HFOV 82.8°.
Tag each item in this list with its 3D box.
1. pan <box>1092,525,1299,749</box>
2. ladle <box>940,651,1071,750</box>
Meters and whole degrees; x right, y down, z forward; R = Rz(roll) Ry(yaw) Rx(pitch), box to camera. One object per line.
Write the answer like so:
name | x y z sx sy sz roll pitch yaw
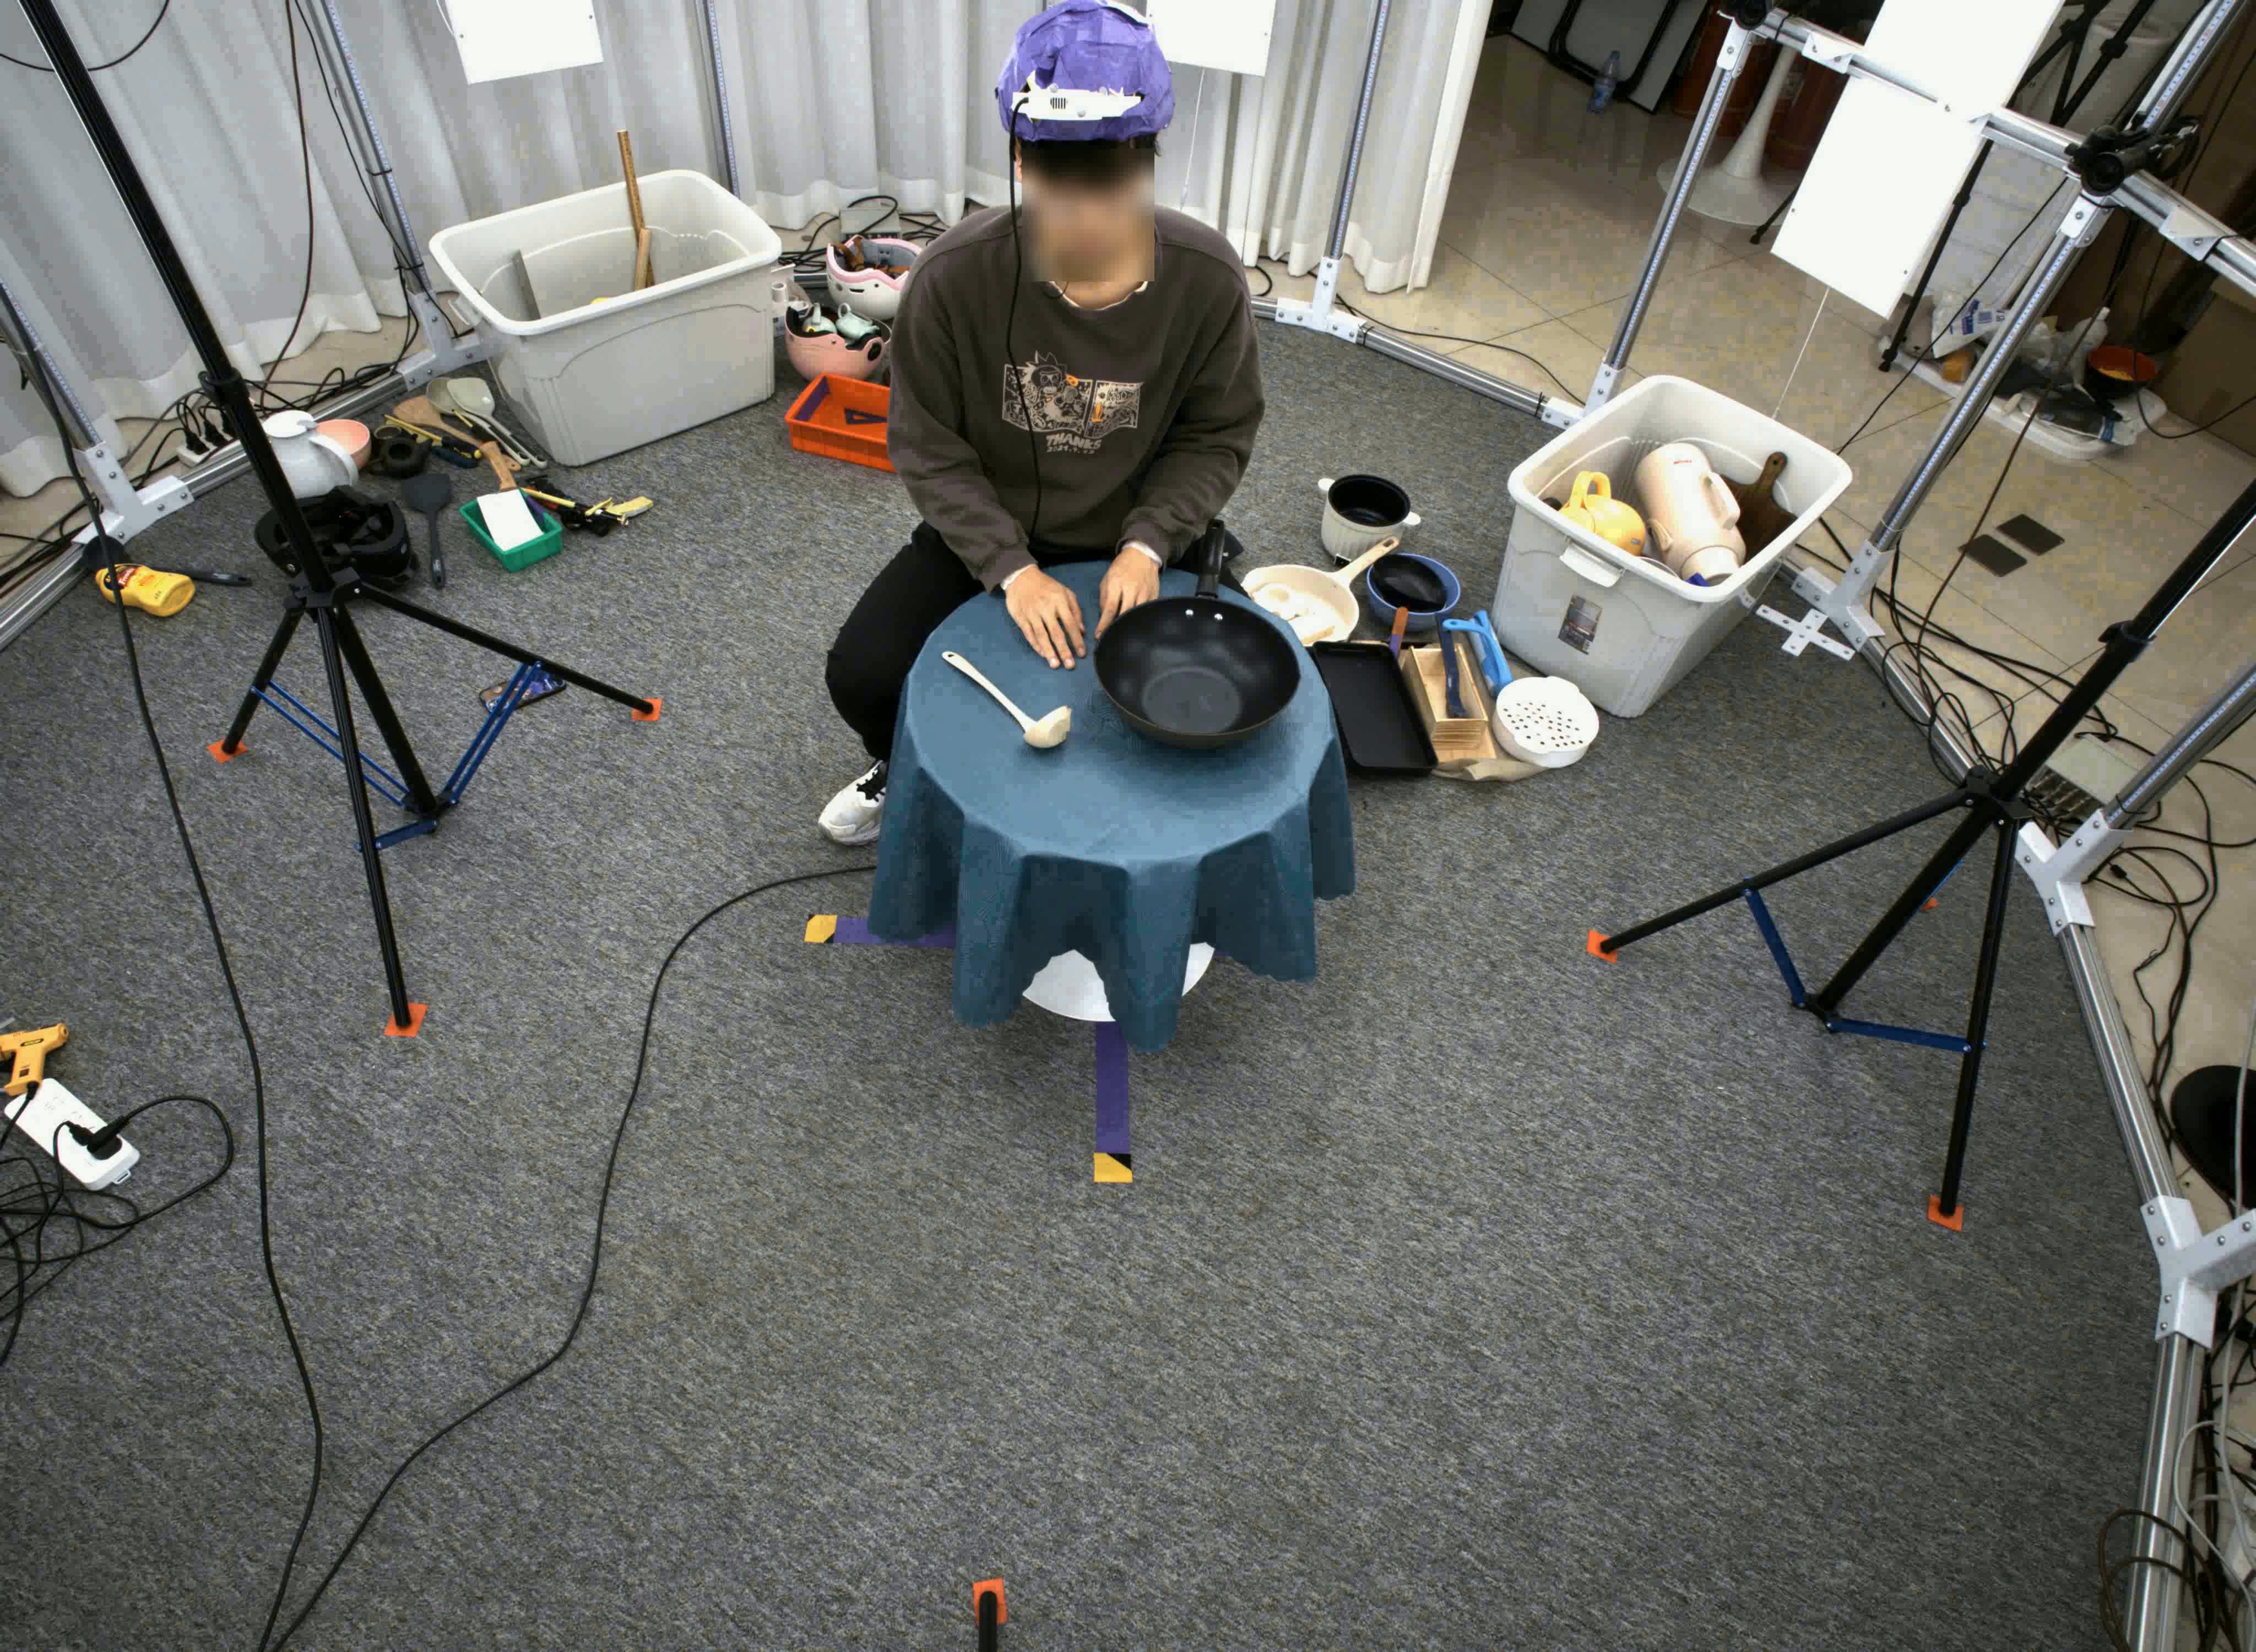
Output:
pan | 0.103 -0.269 1.853 0.288 0.085 0.474 8 48 3
ladle | -0.179 -0.196 1.777 0.073 0.071 0.258 -35 61 -27
